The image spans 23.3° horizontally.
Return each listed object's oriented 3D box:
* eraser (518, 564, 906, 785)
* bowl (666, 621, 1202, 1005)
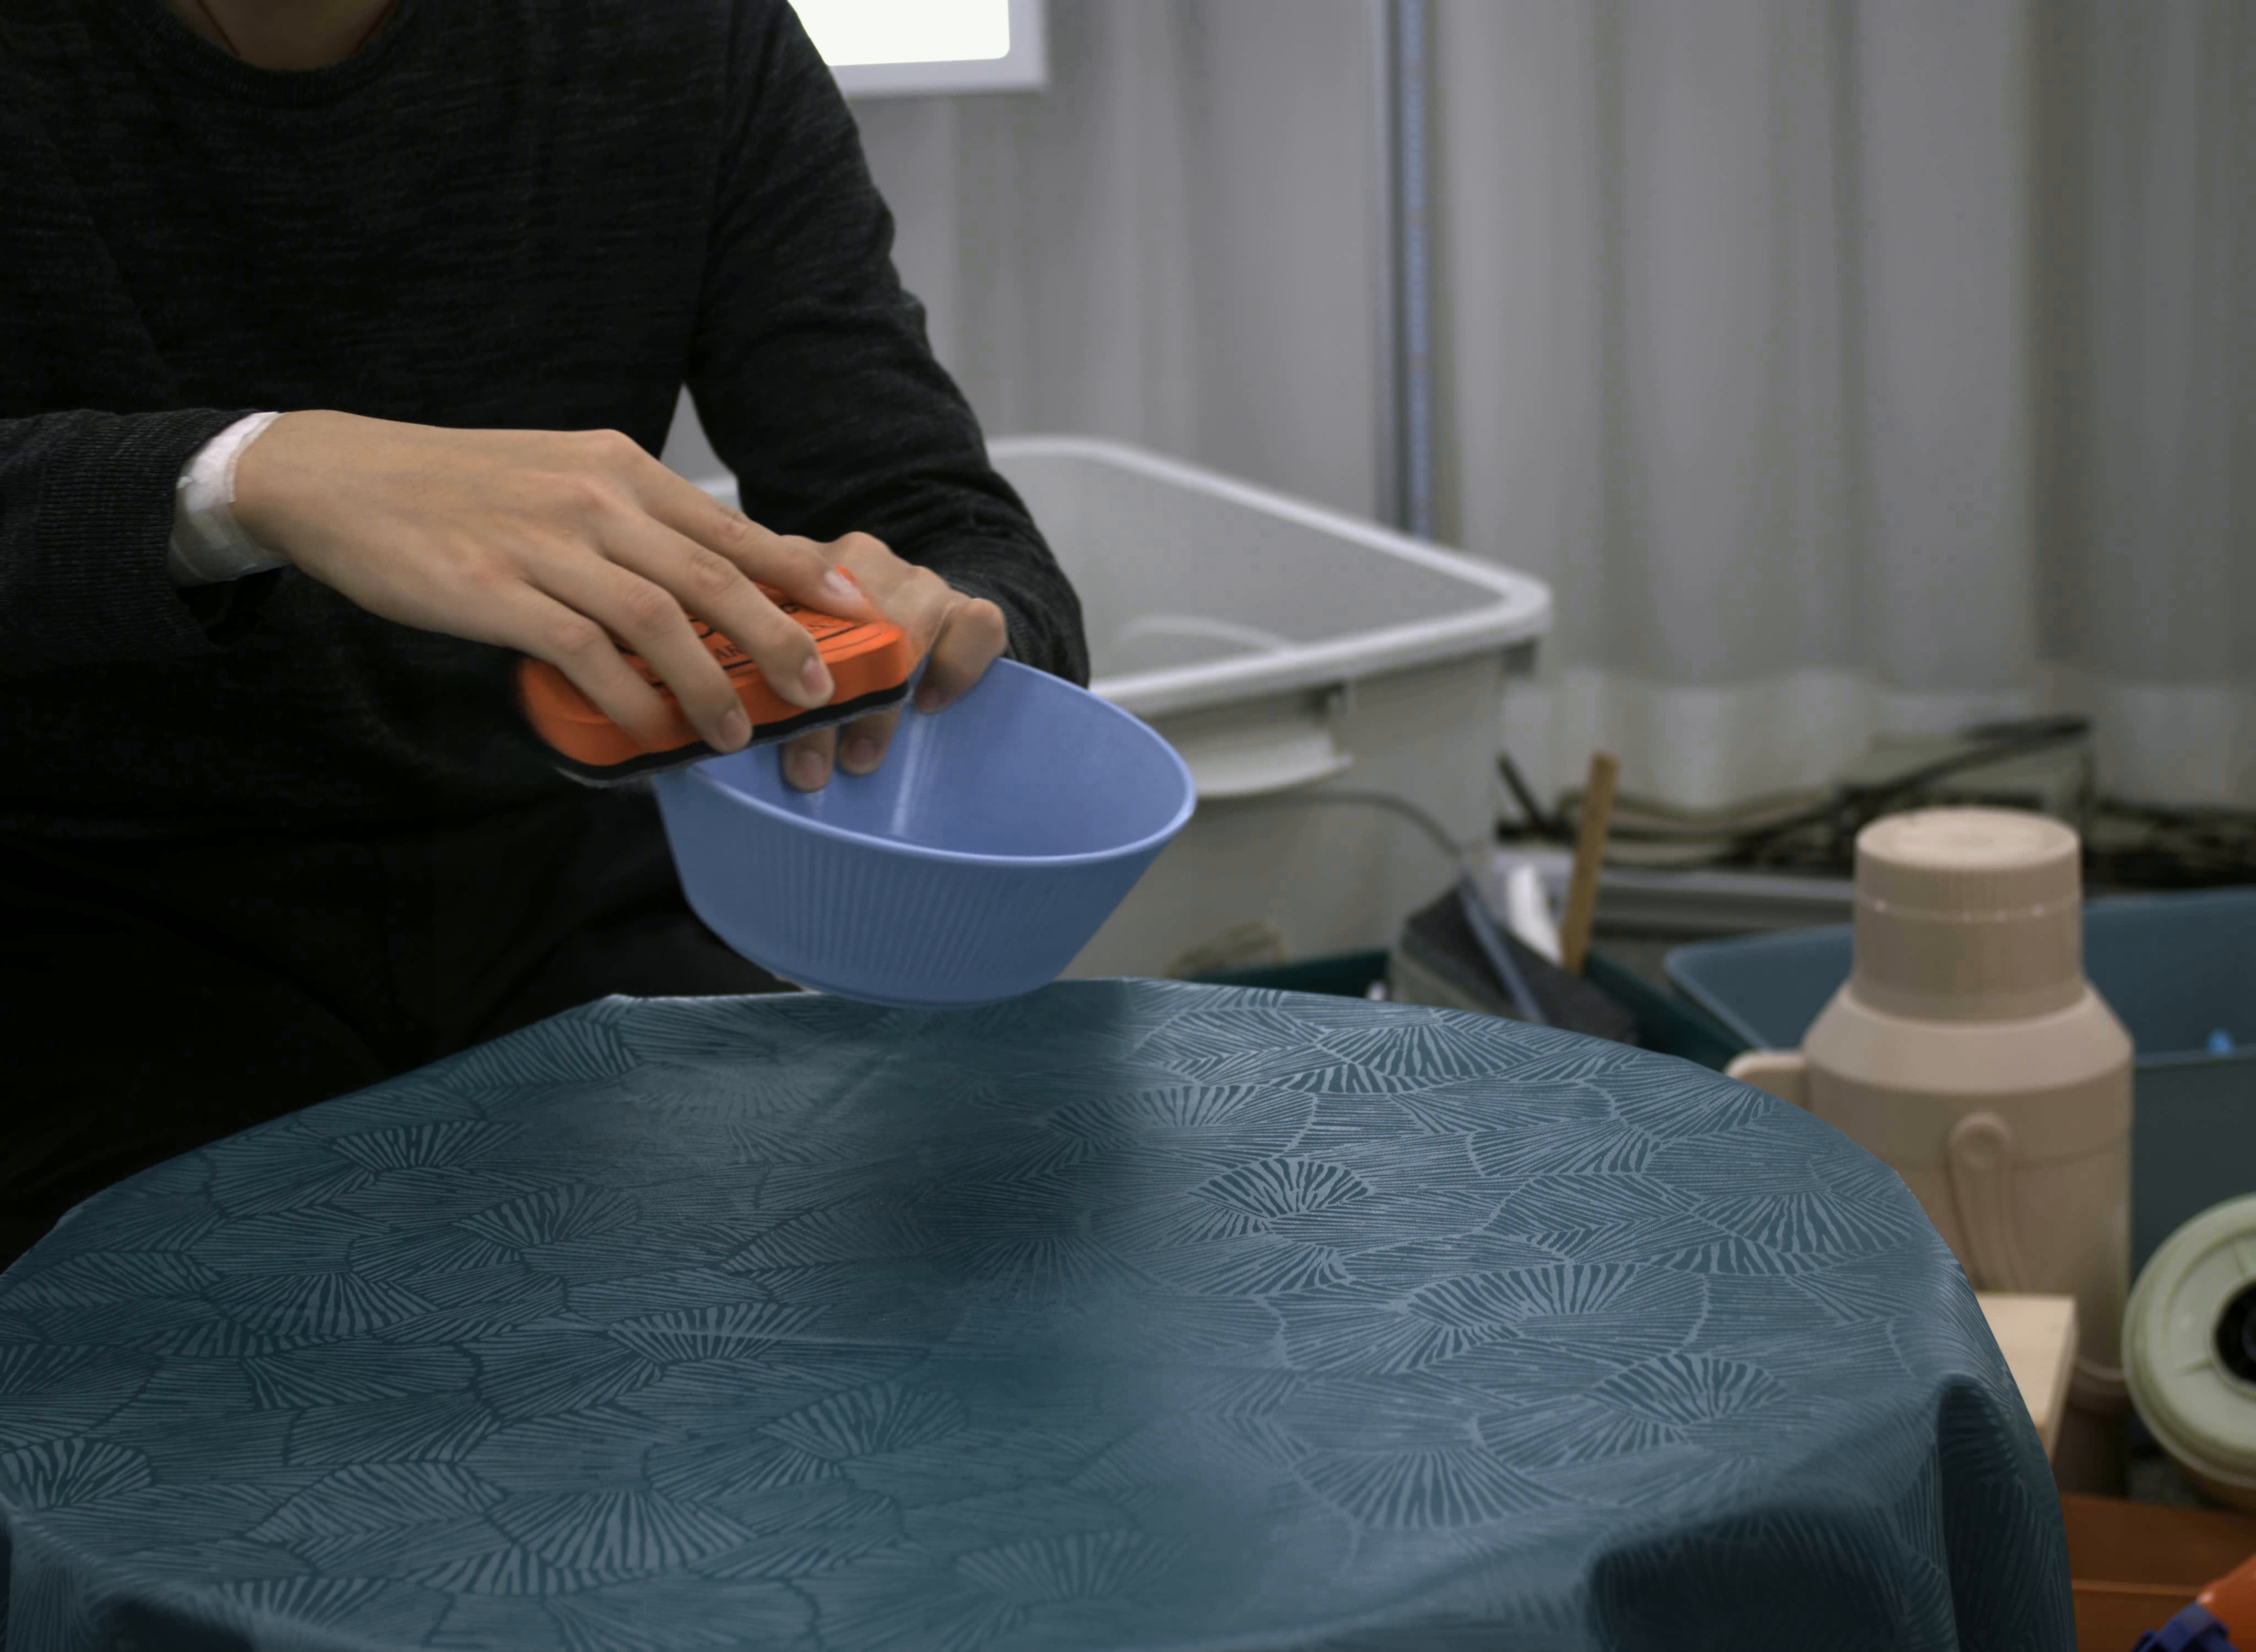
[{"bbox_3d":[-0.124,-0.046,1.638,0.108,0.022,0.060,-17,34,-20],"label":"eraser"},{"bbox_3d":[-0.069,0.000,1.685,0.175,0.070,0.178,13,22,-5],"label":"bowl"}]
